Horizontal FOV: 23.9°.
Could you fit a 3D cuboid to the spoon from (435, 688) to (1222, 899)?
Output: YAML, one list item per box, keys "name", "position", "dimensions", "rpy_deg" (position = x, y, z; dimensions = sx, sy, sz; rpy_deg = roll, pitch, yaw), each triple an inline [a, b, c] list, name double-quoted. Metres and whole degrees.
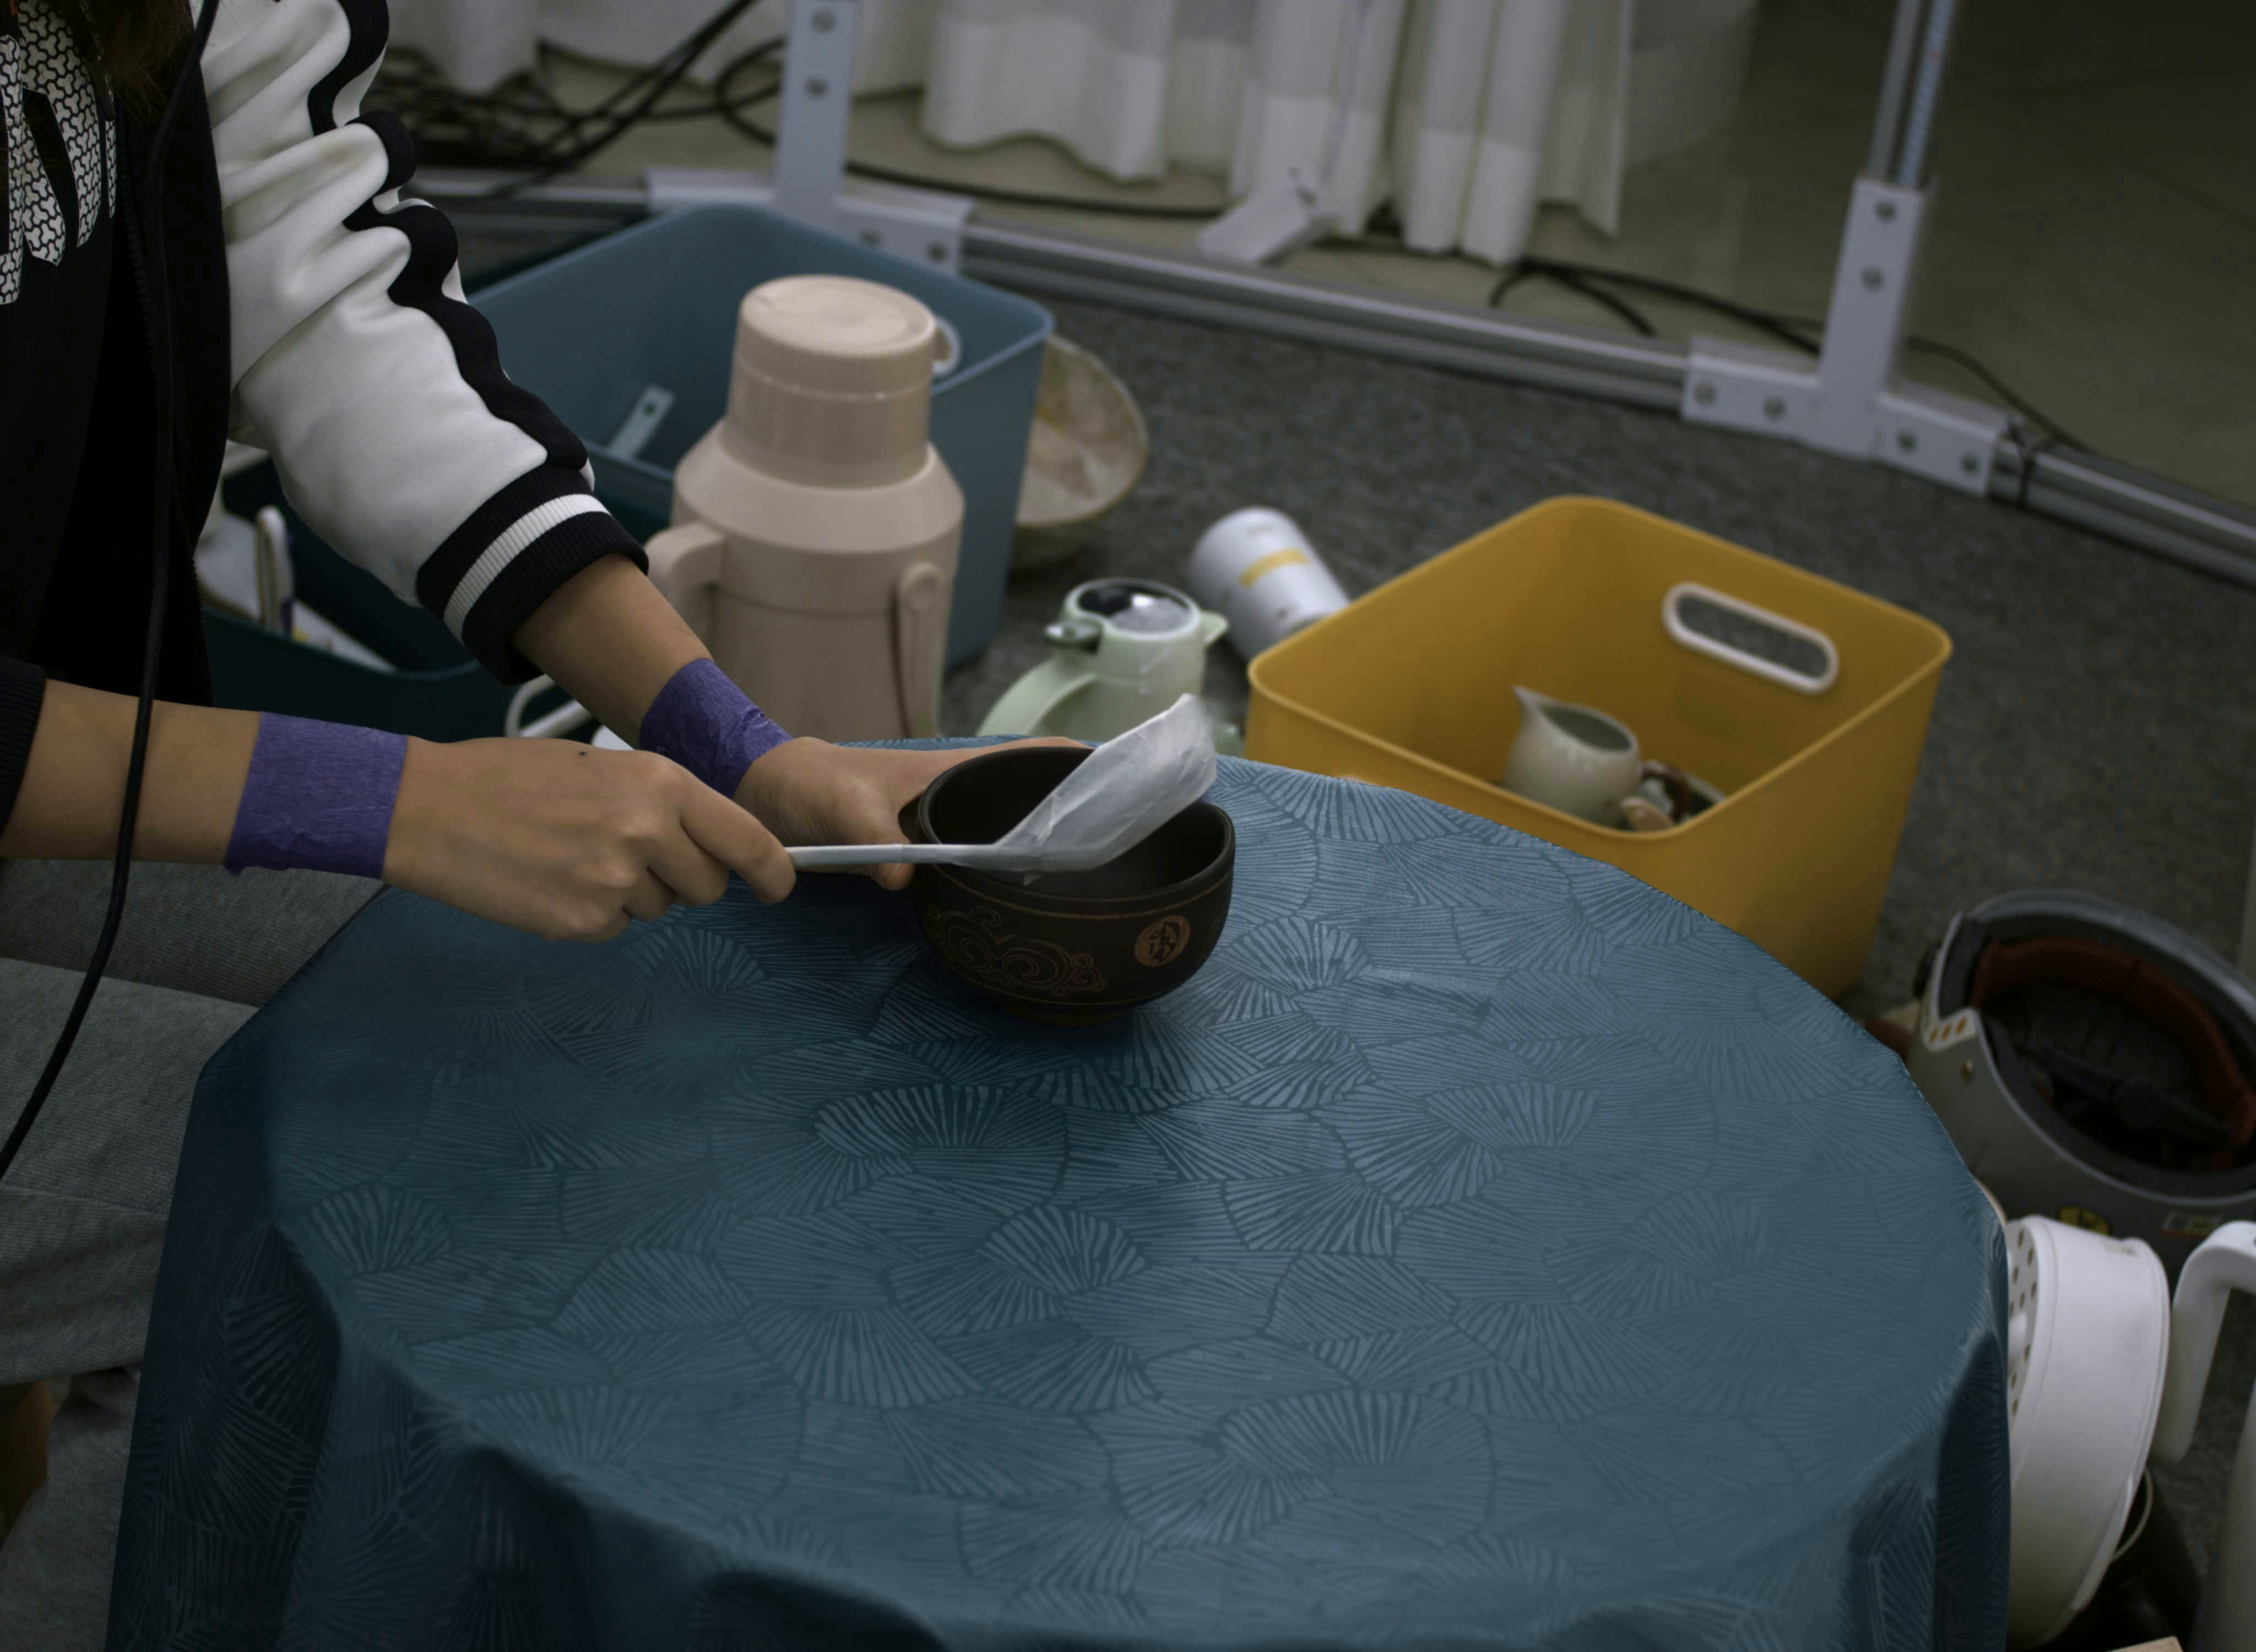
- name: "spoon"
  position: [-0.104, -0.008, 1.865]
  dimensions: [0.276, 0.100, 0.060]
  rpy_deg: [-3, 63, 0]

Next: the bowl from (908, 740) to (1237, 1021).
- name: "bowl"
  position: [-0.022, 0.026, 1.907]
  dimensions: [0.117, 0.069, 0.119]
  rpy_deg: [5, 28, -3]
